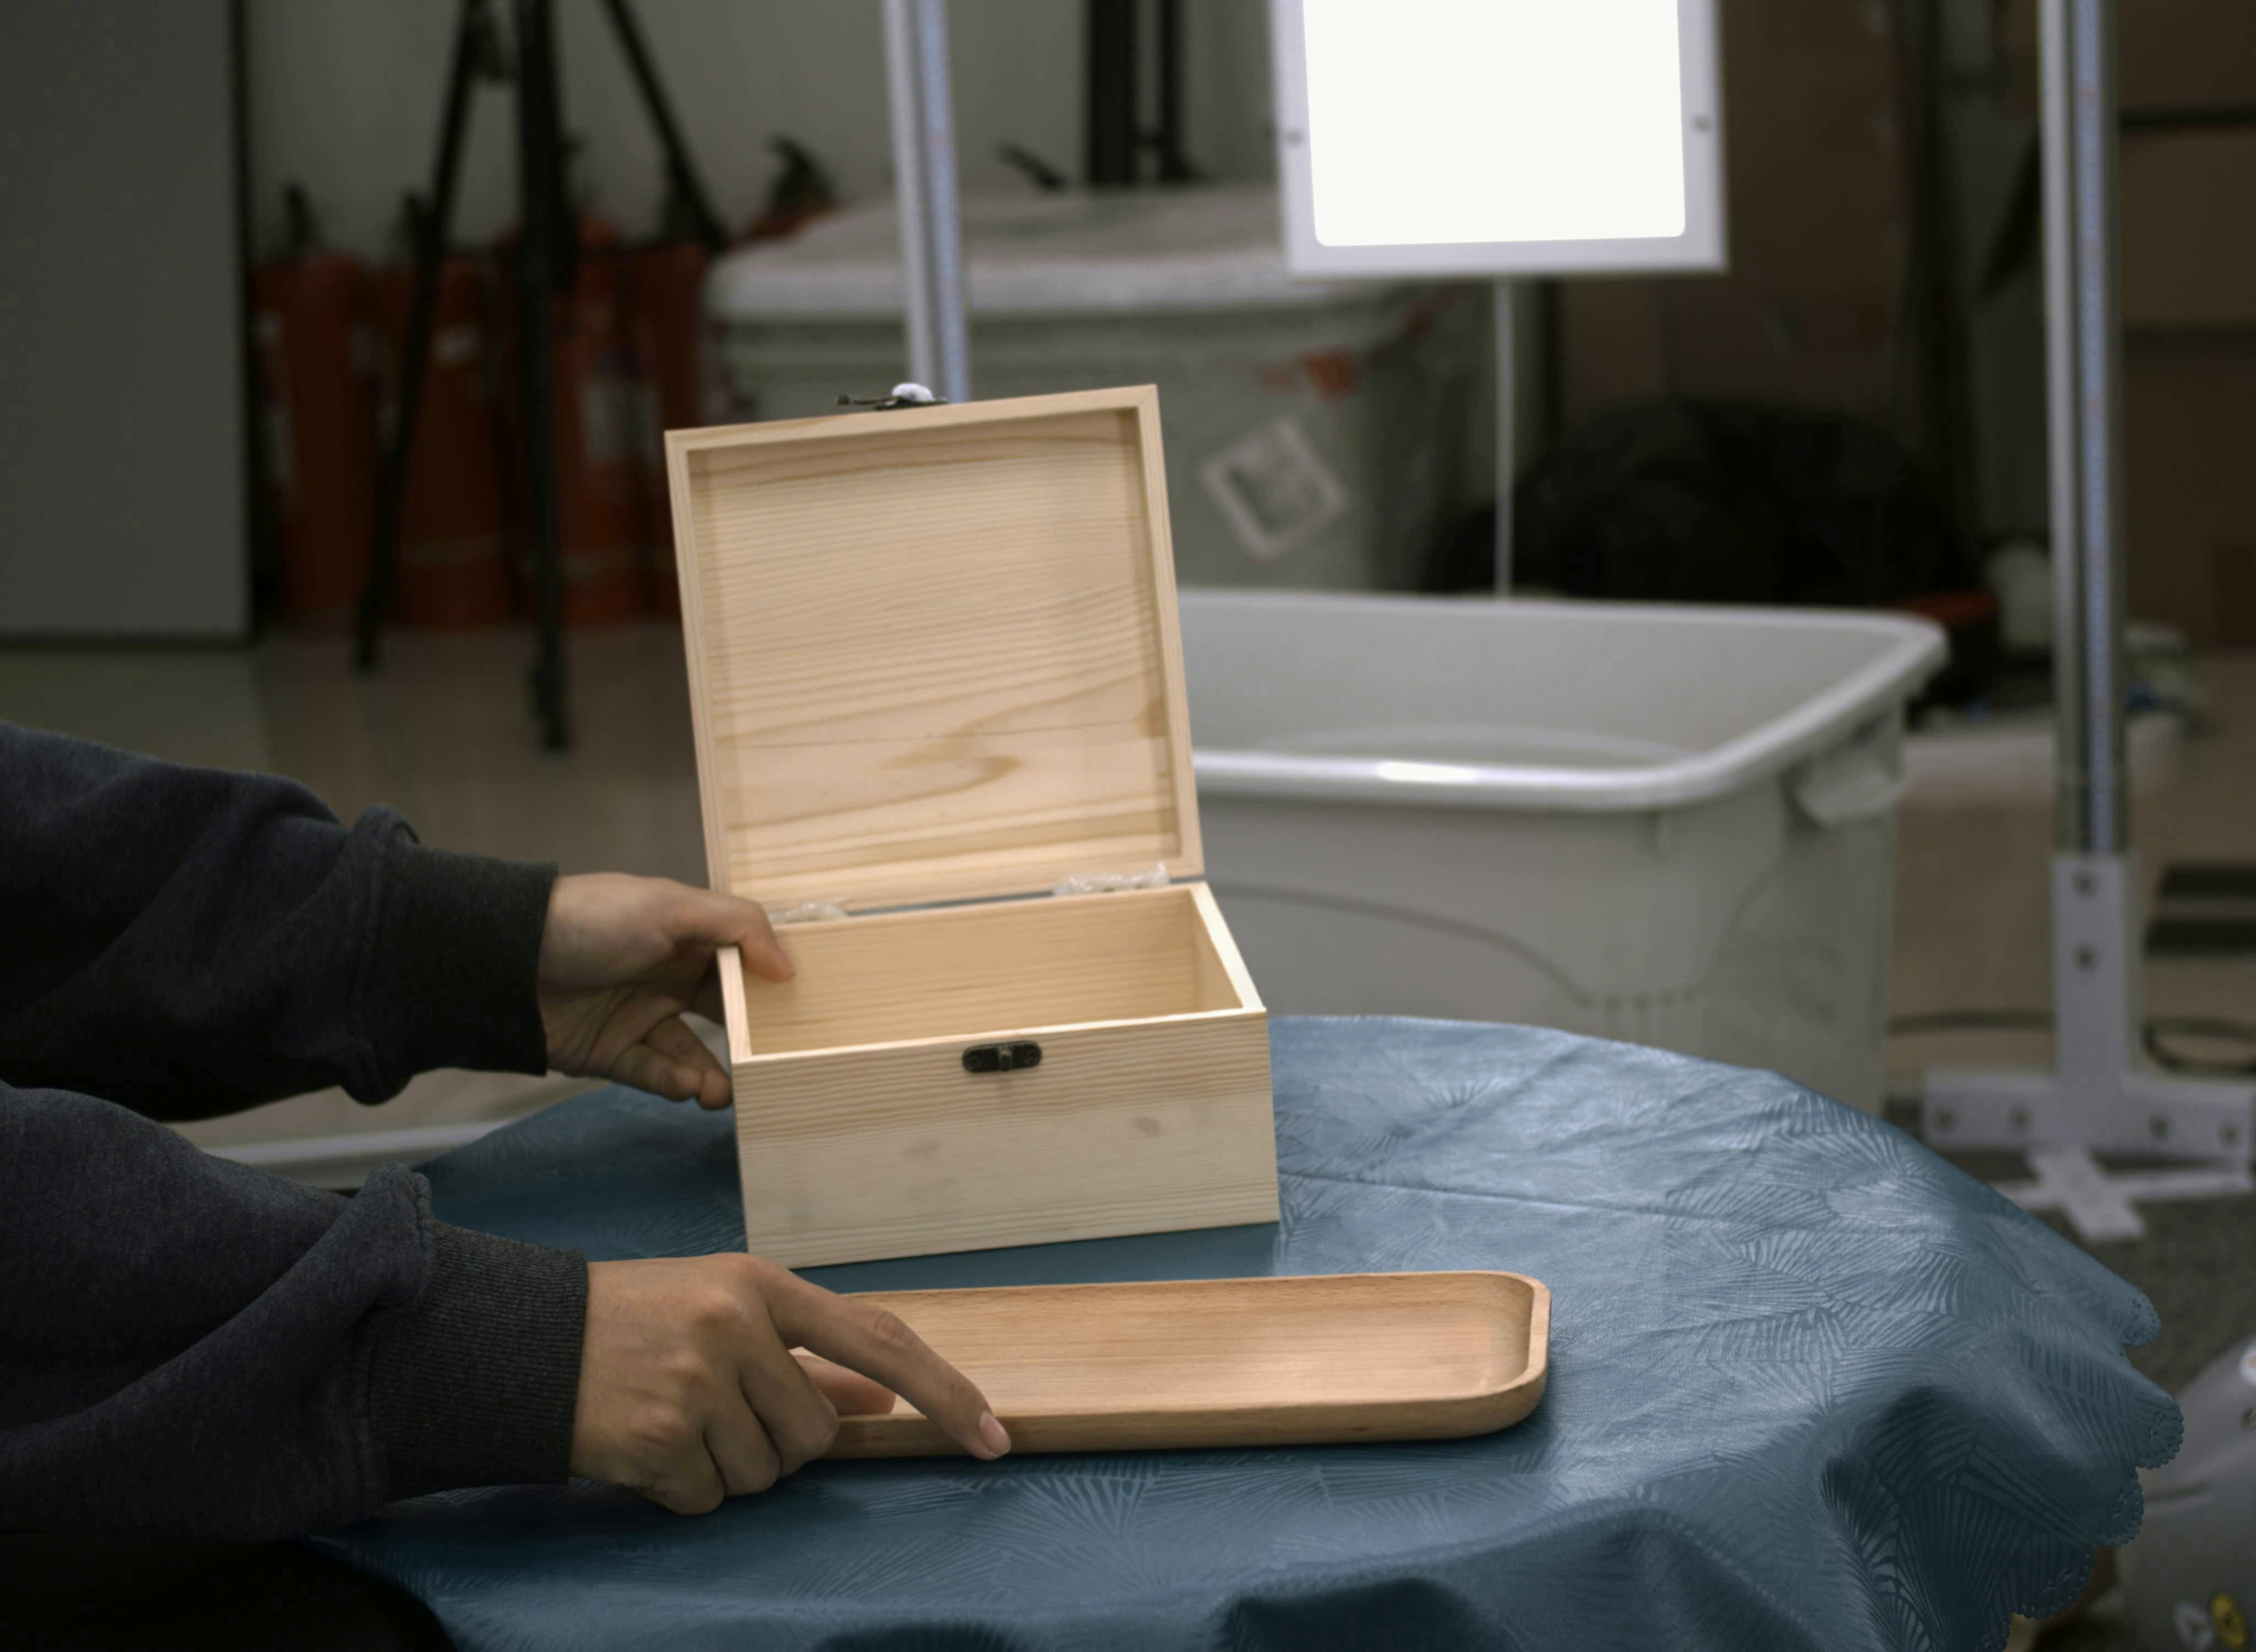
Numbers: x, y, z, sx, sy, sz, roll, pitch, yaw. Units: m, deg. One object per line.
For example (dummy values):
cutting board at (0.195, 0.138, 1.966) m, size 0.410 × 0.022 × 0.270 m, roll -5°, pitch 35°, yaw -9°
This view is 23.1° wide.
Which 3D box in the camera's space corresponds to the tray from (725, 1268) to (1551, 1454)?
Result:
tray at (0.005, 0.165, 1.696) m, size 0.252 × 0.023 × 0.129 m, roll -3°, pitch 10°, yaw 9°

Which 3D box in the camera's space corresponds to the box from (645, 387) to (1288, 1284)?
box at (-0.061, -0.005, 1.939) m, size 0.181 × 0.254 × 0.265 m, roll -8°, pitch 13°, yaw -4°
